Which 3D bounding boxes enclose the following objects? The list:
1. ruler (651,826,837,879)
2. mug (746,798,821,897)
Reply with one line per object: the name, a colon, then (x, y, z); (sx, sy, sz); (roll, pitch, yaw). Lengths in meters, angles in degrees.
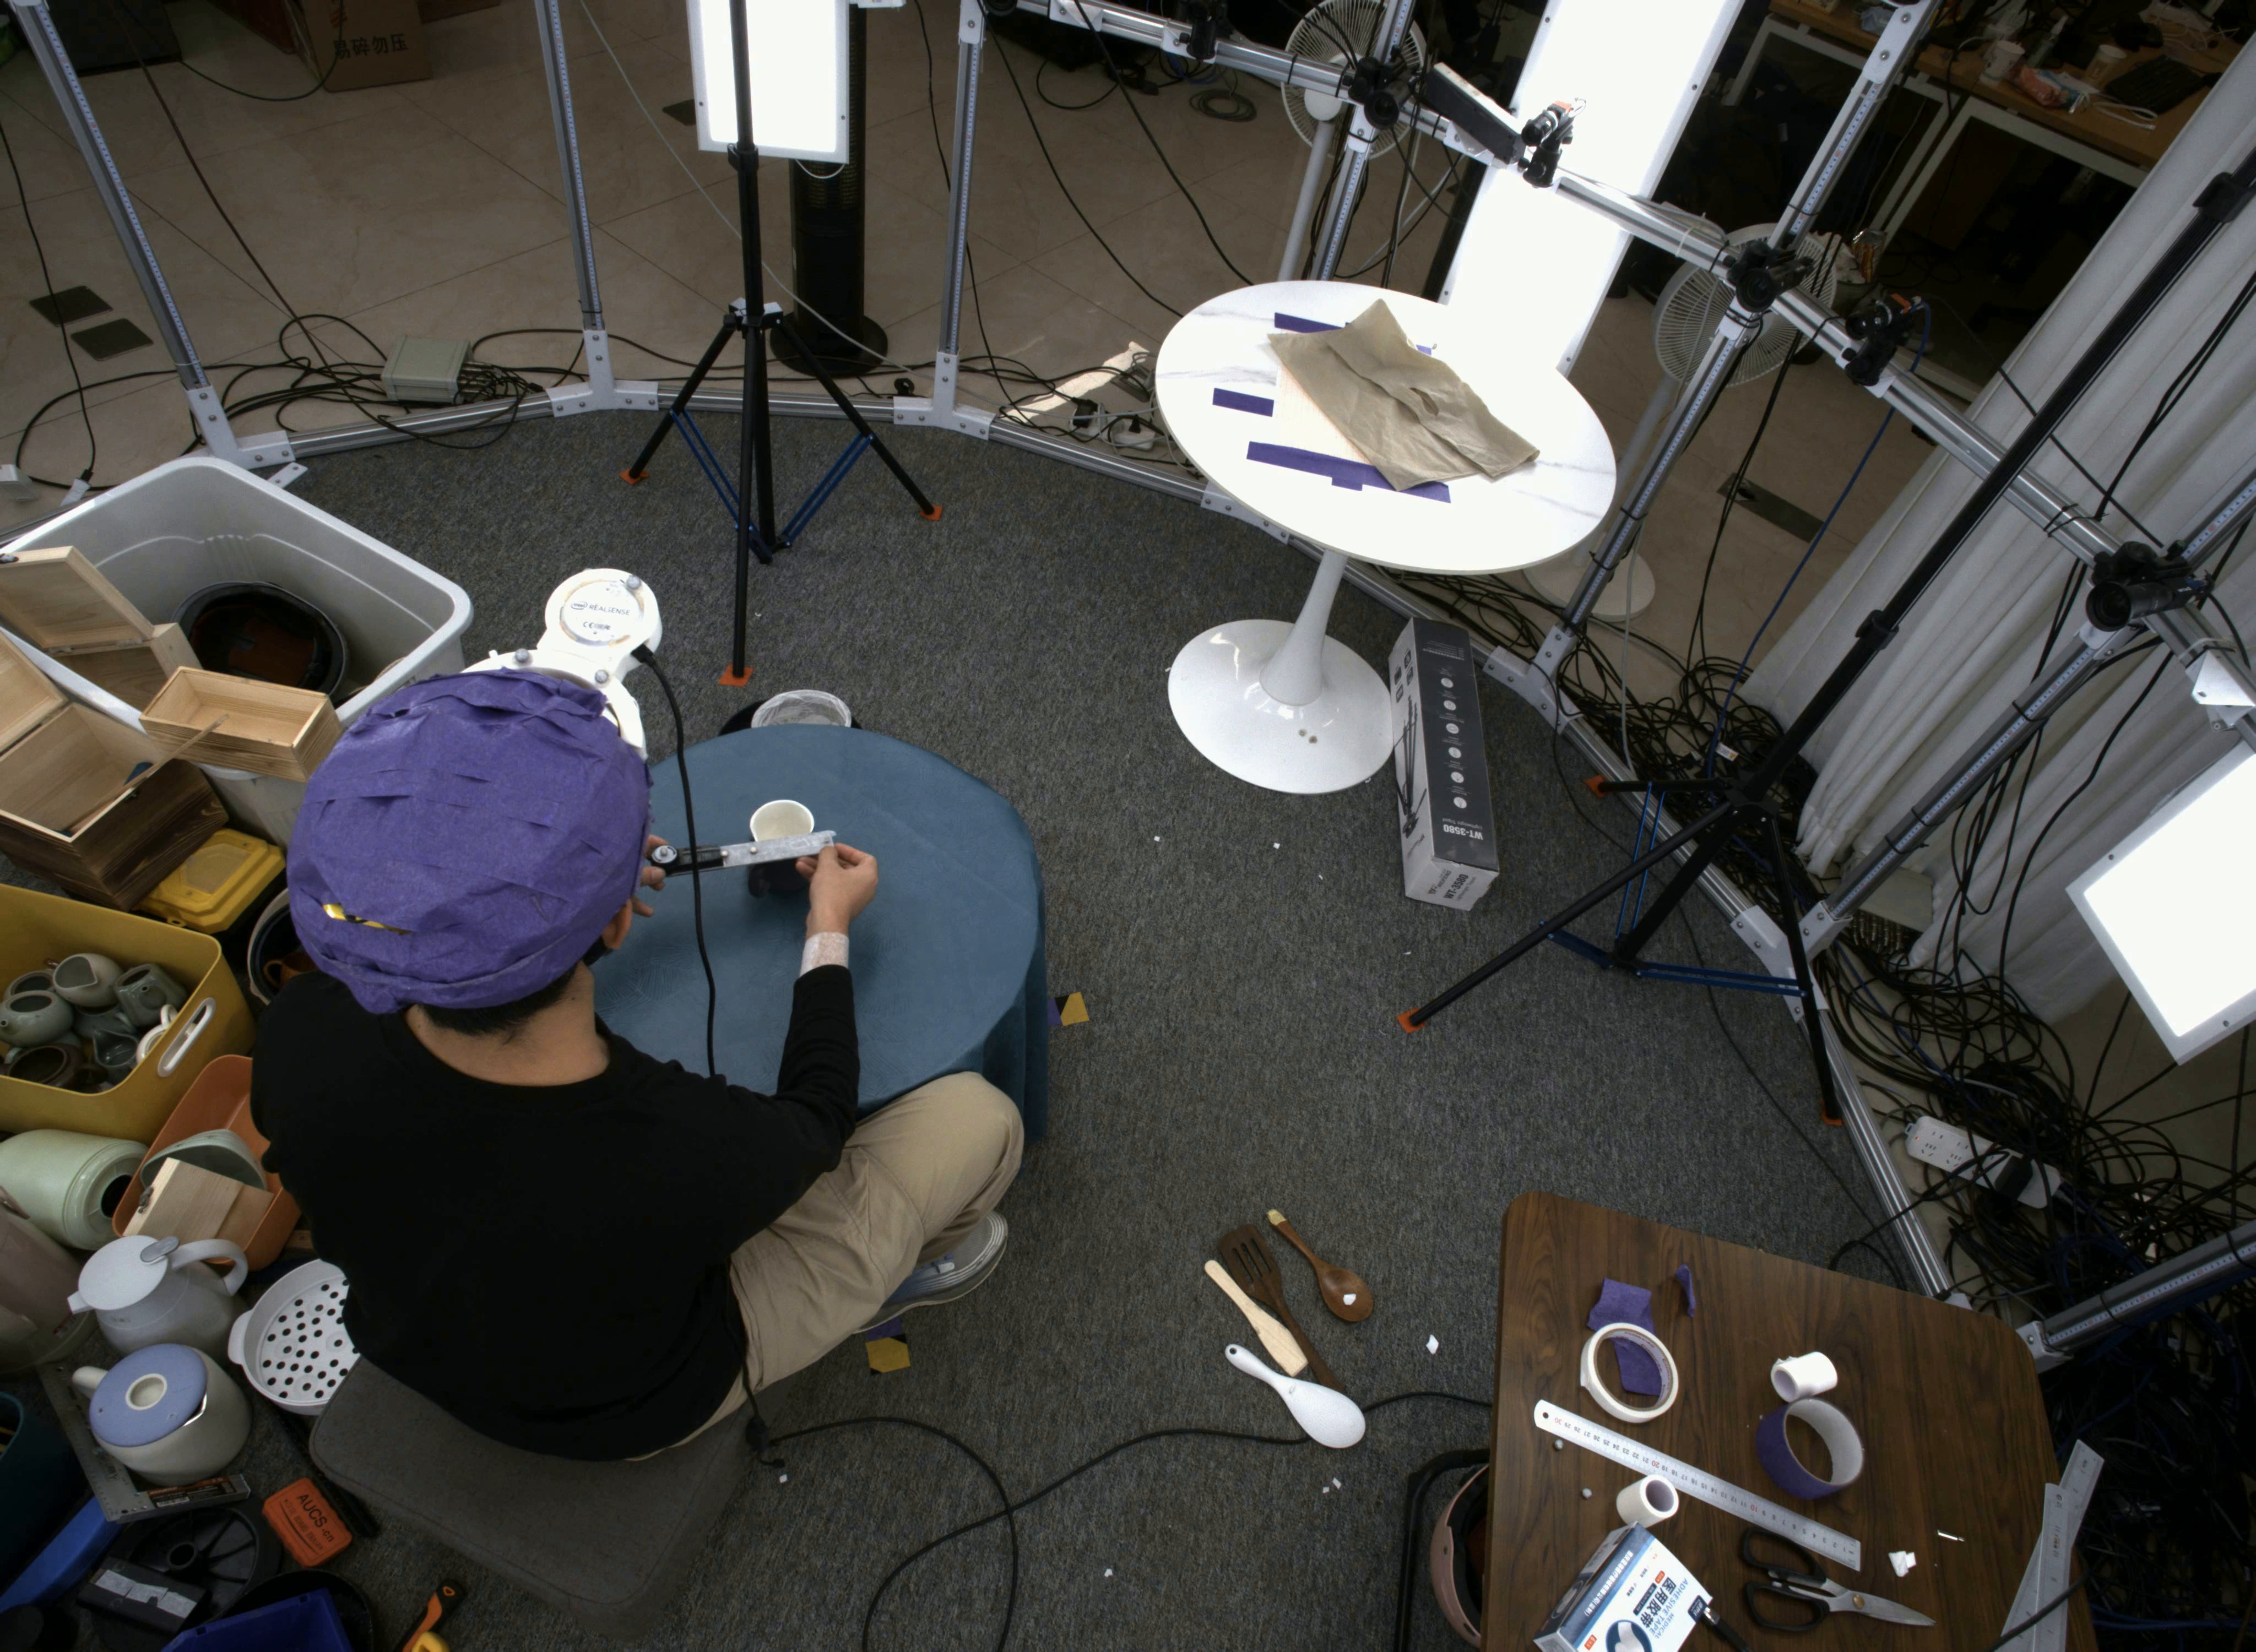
ruler: (-0.462, 0.025, 1.554); (0.219, 0.024, 0.037); (-10, 57, -21)
mug: (-0.443, 0.033, 1.629); (0.092, 0.092, 0.122); (22, 50, 5)
